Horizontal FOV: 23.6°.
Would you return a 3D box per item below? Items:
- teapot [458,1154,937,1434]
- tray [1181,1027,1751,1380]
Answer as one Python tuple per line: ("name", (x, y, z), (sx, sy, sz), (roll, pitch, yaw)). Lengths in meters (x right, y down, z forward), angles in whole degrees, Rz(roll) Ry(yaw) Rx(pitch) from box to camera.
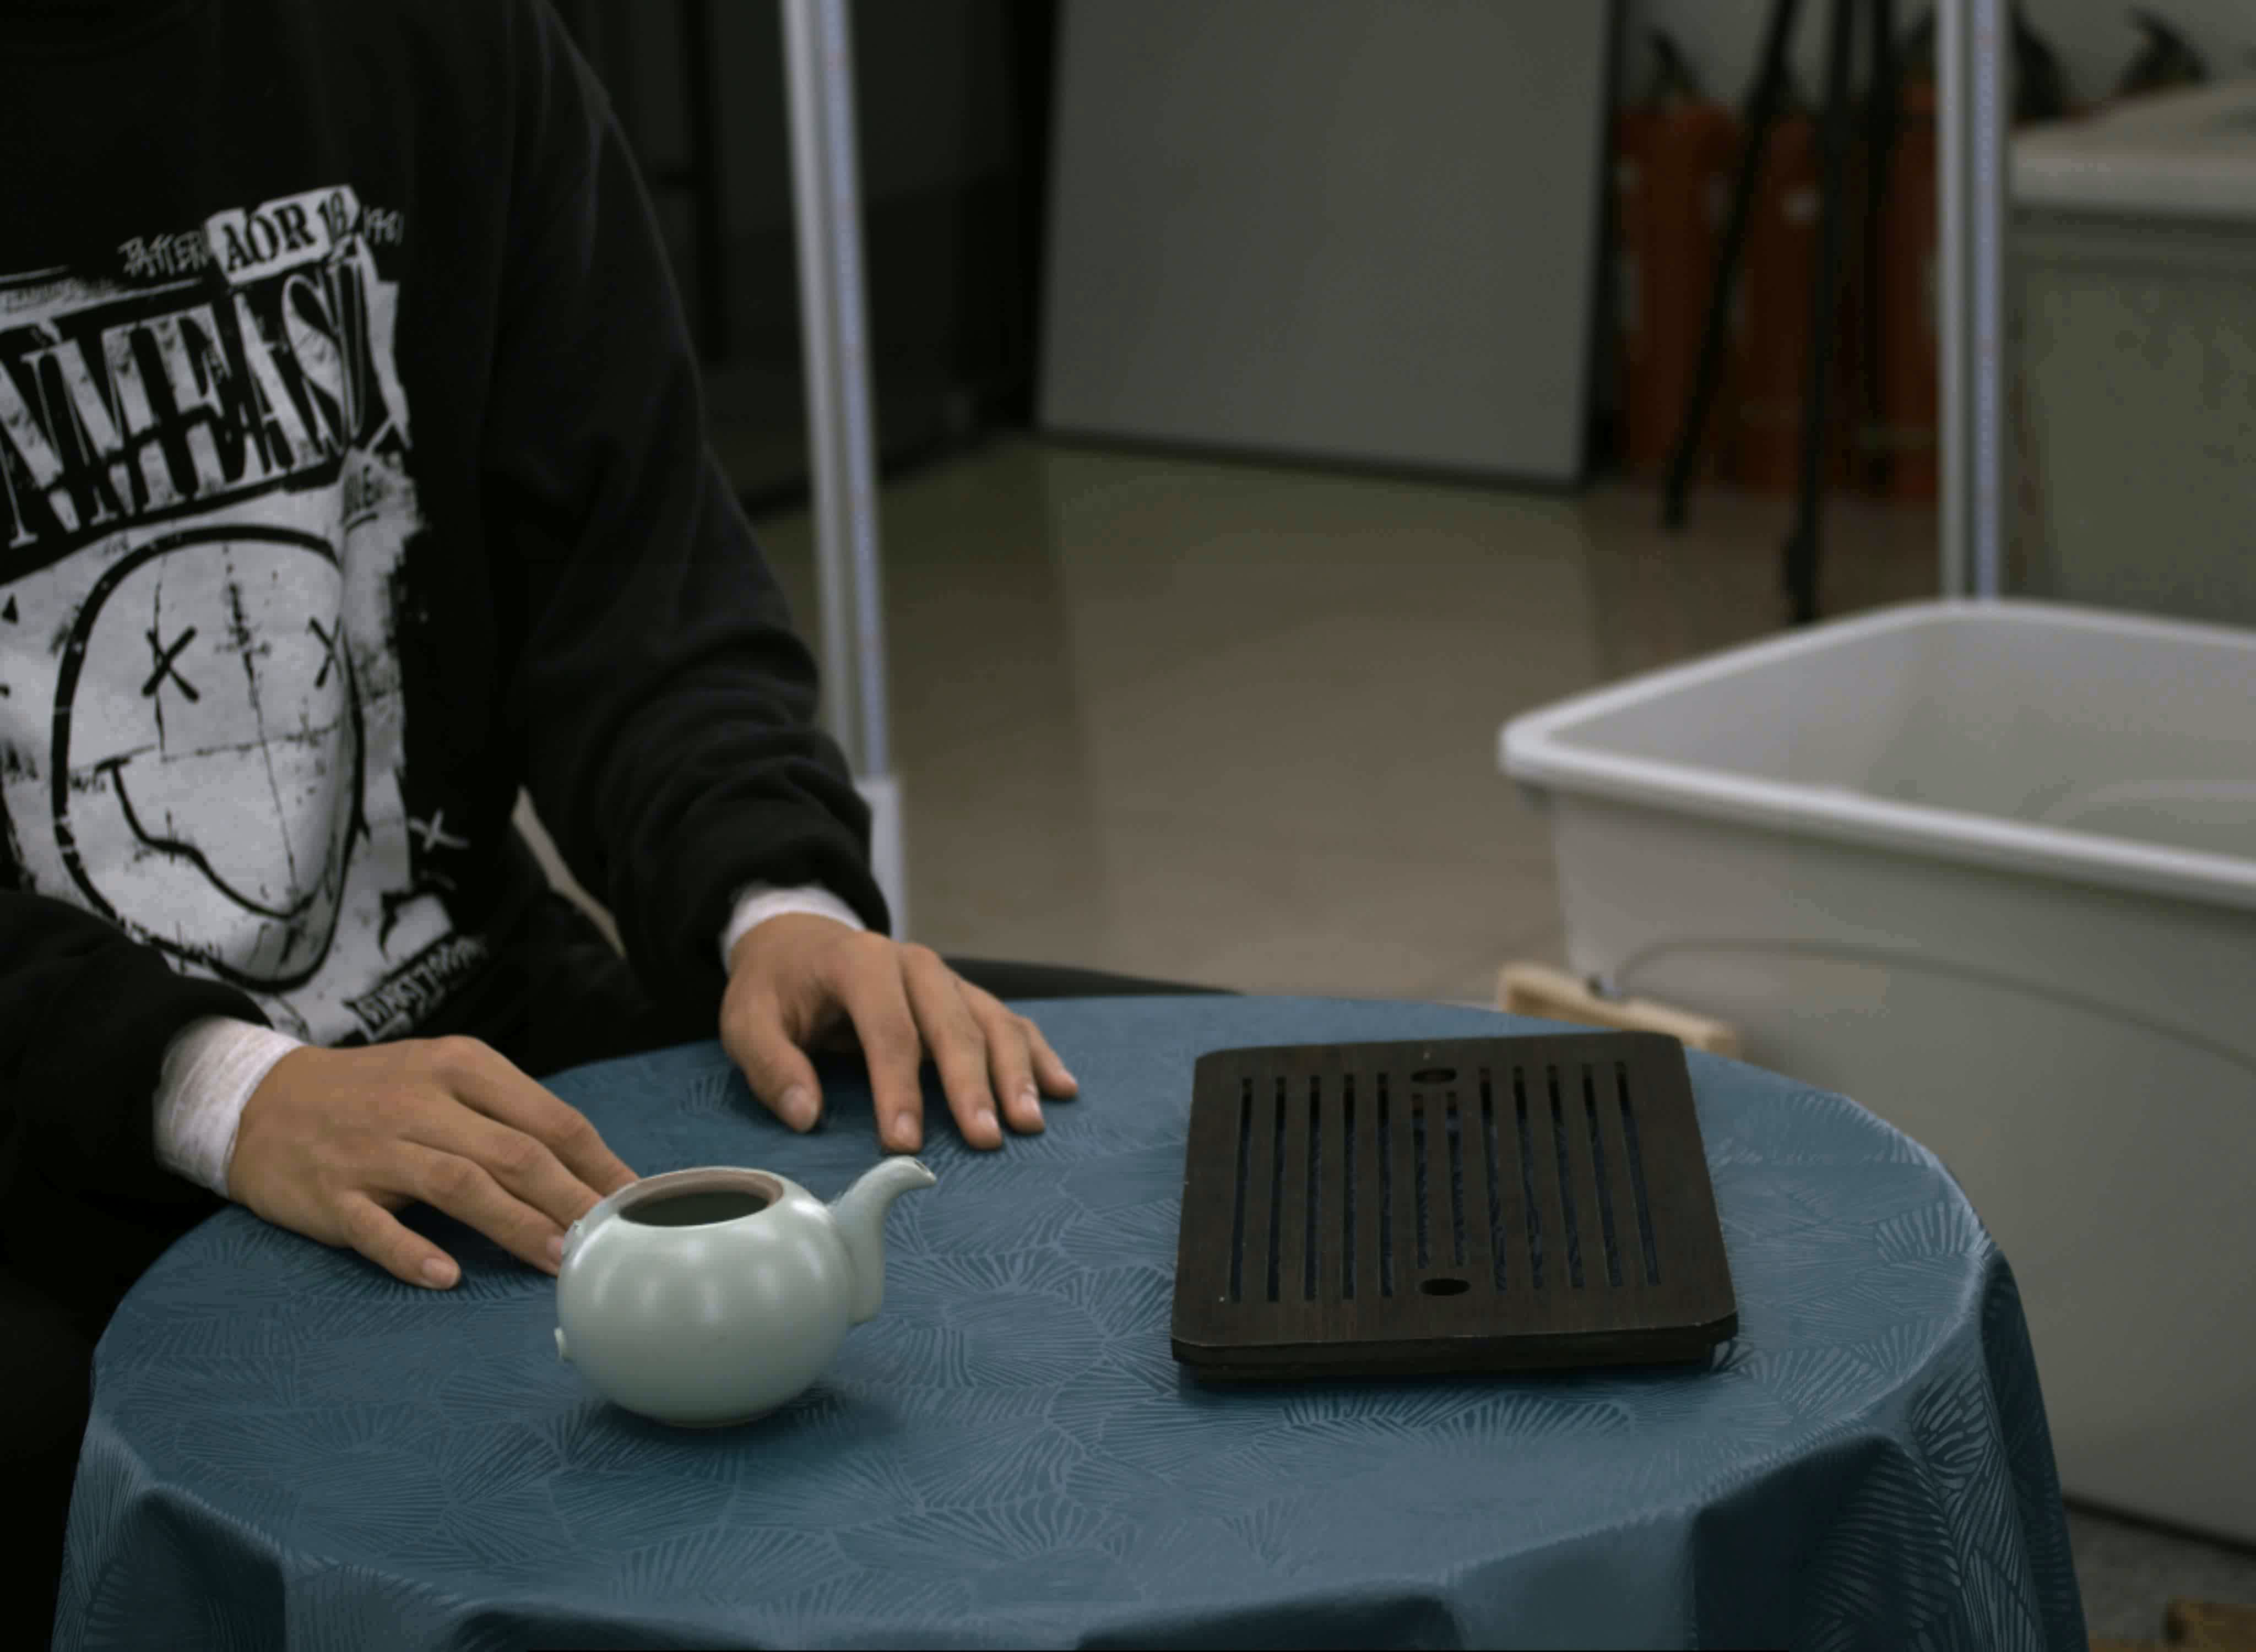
("teapot", (-0.125, 0.138, 1.594), (0.142, 0.075, 0.088), (-3, 14, -3))
("tray", (0.106, 0.118, 1.717), (0.168, 0.019, 0.306), (-4, 14, 4))
